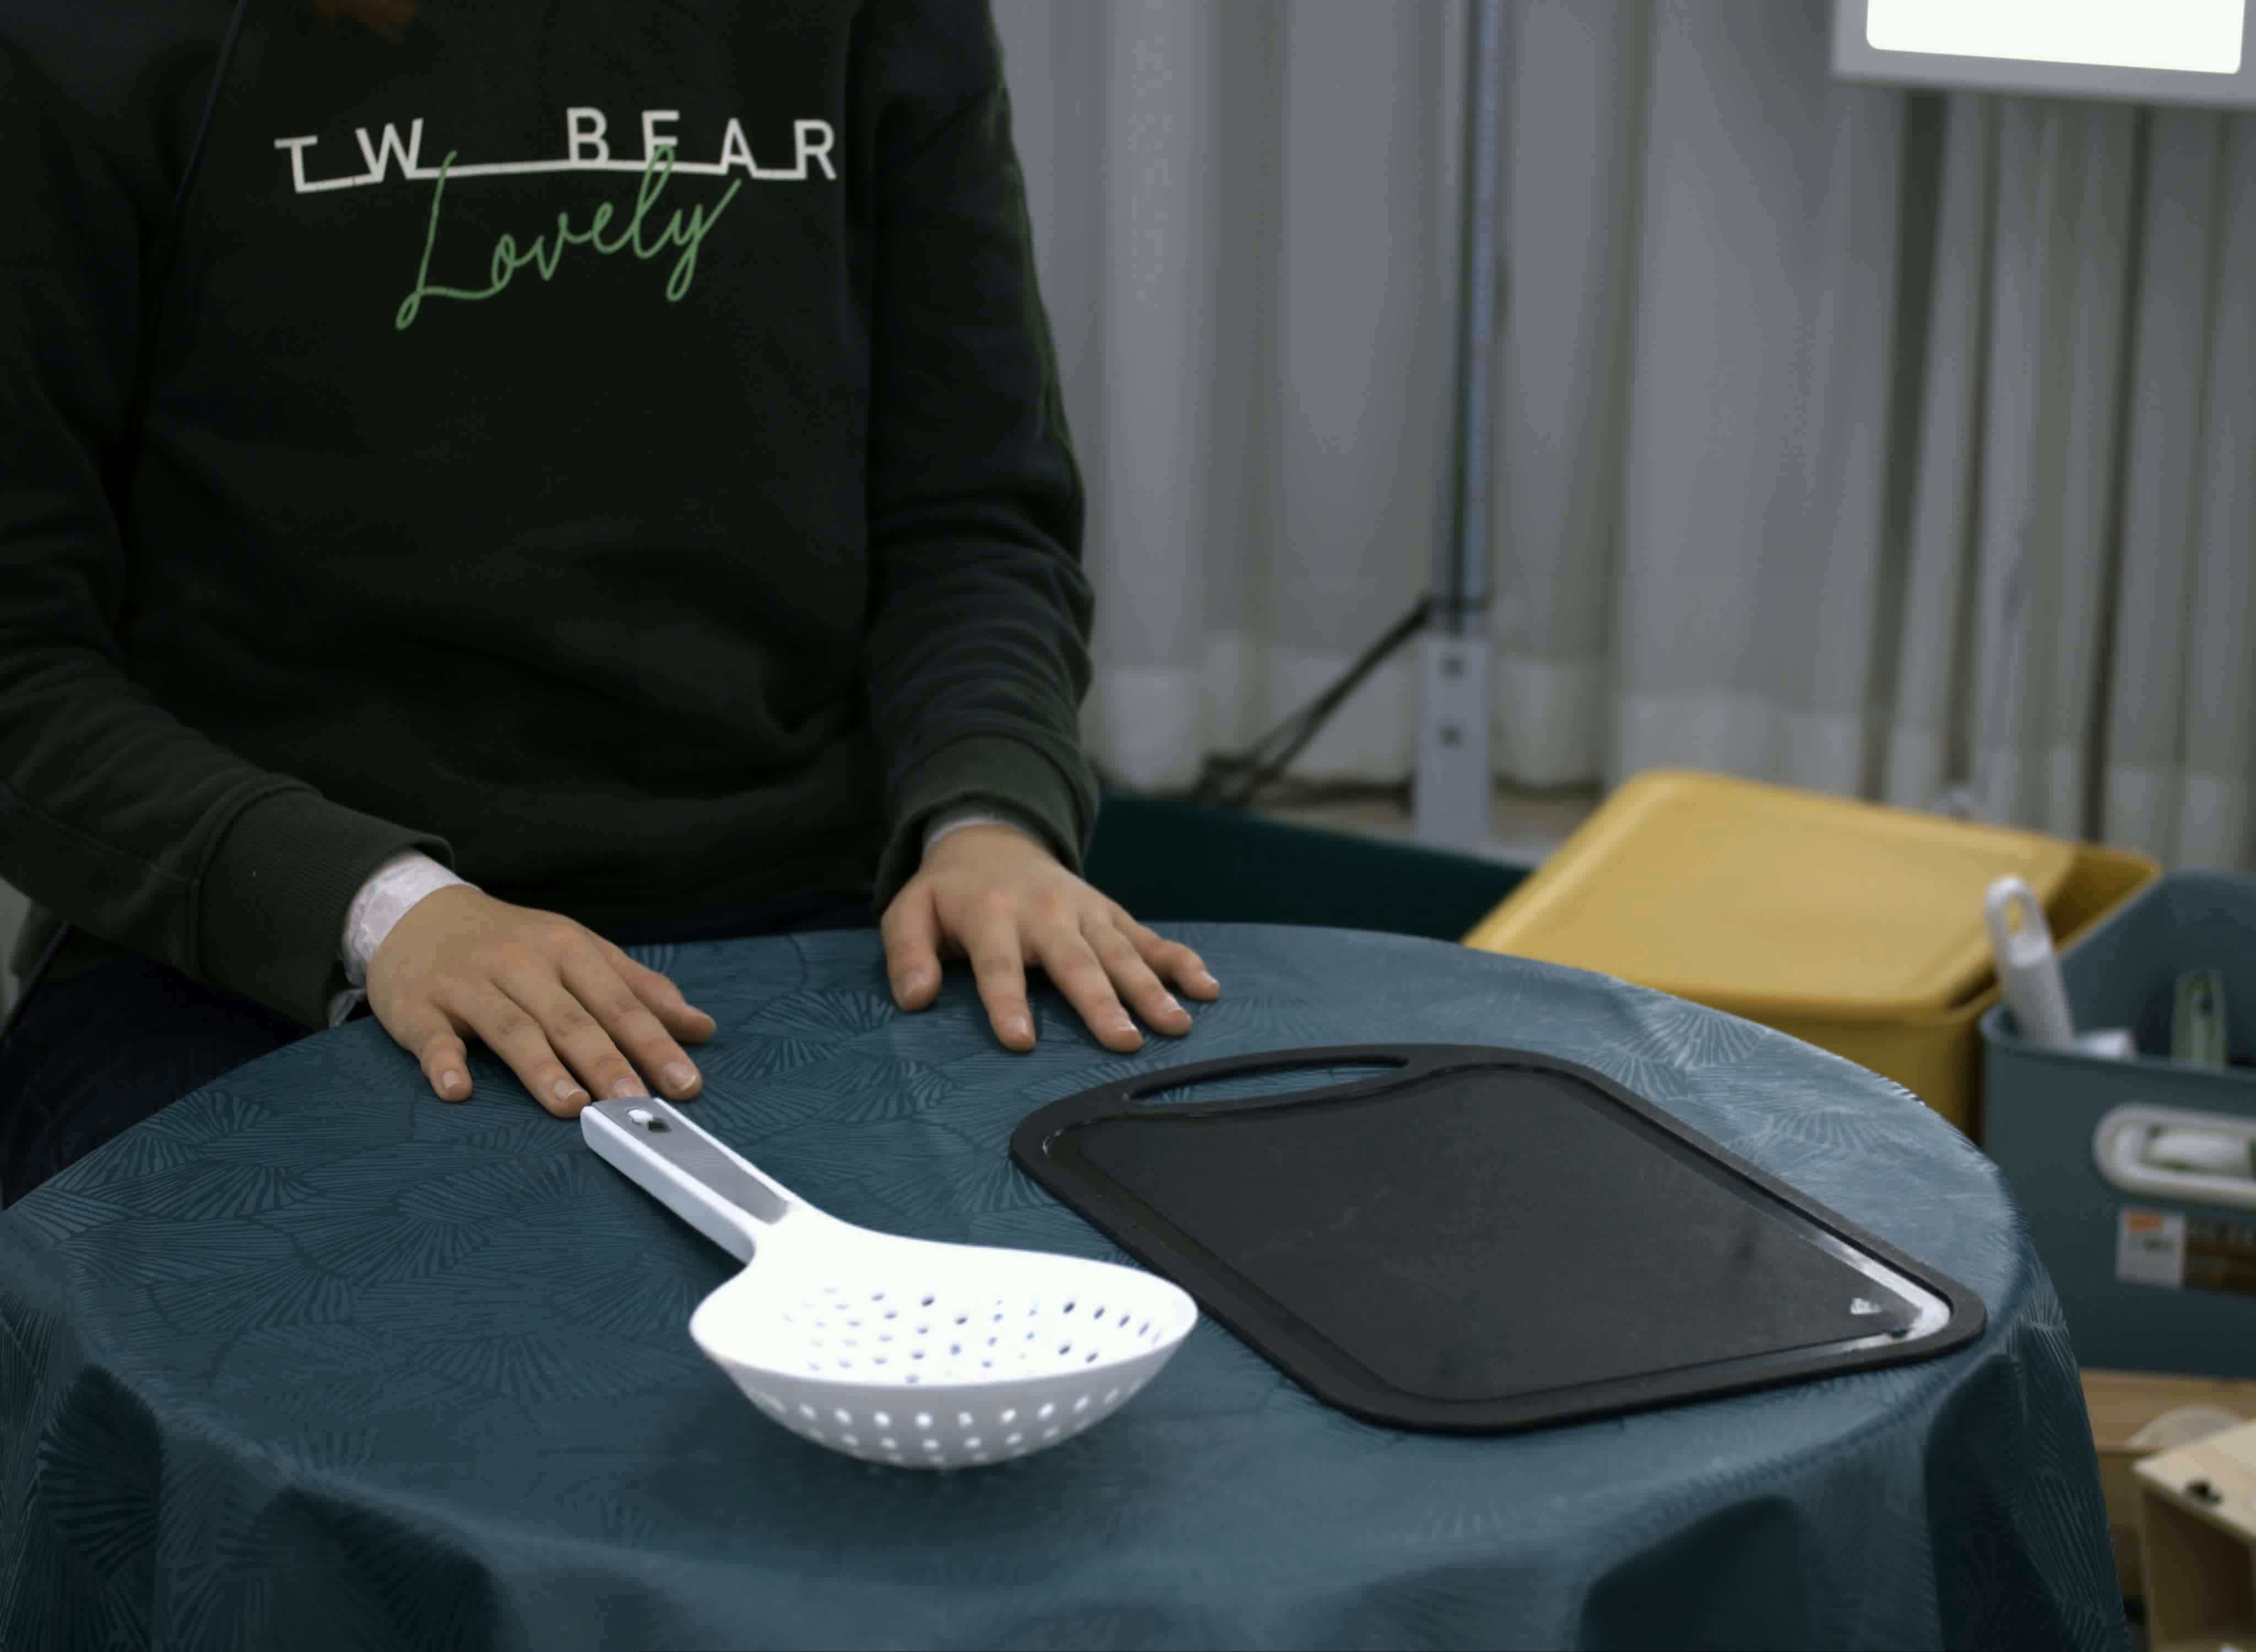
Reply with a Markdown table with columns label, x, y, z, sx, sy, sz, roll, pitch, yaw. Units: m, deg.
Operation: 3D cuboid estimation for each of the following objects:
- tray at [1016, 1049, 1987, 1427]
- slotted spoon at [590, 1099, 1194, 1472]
| label | x | y | z | sx | sy | sz | roll | pitch | yaw |
| --- | --- | --- | --- | --- | --- | --- | --- | --- | --- |
| tray | 0.102 | 0.117 | 1.602 | 0.212 | 0.010 | 0.321 | -6 | 17 | -23 |
| slotted spoon | -0.092 | 0.122 | 1.507 | 0.136 | 0.046 | 0.345 | -4 | 15 | -23 |
